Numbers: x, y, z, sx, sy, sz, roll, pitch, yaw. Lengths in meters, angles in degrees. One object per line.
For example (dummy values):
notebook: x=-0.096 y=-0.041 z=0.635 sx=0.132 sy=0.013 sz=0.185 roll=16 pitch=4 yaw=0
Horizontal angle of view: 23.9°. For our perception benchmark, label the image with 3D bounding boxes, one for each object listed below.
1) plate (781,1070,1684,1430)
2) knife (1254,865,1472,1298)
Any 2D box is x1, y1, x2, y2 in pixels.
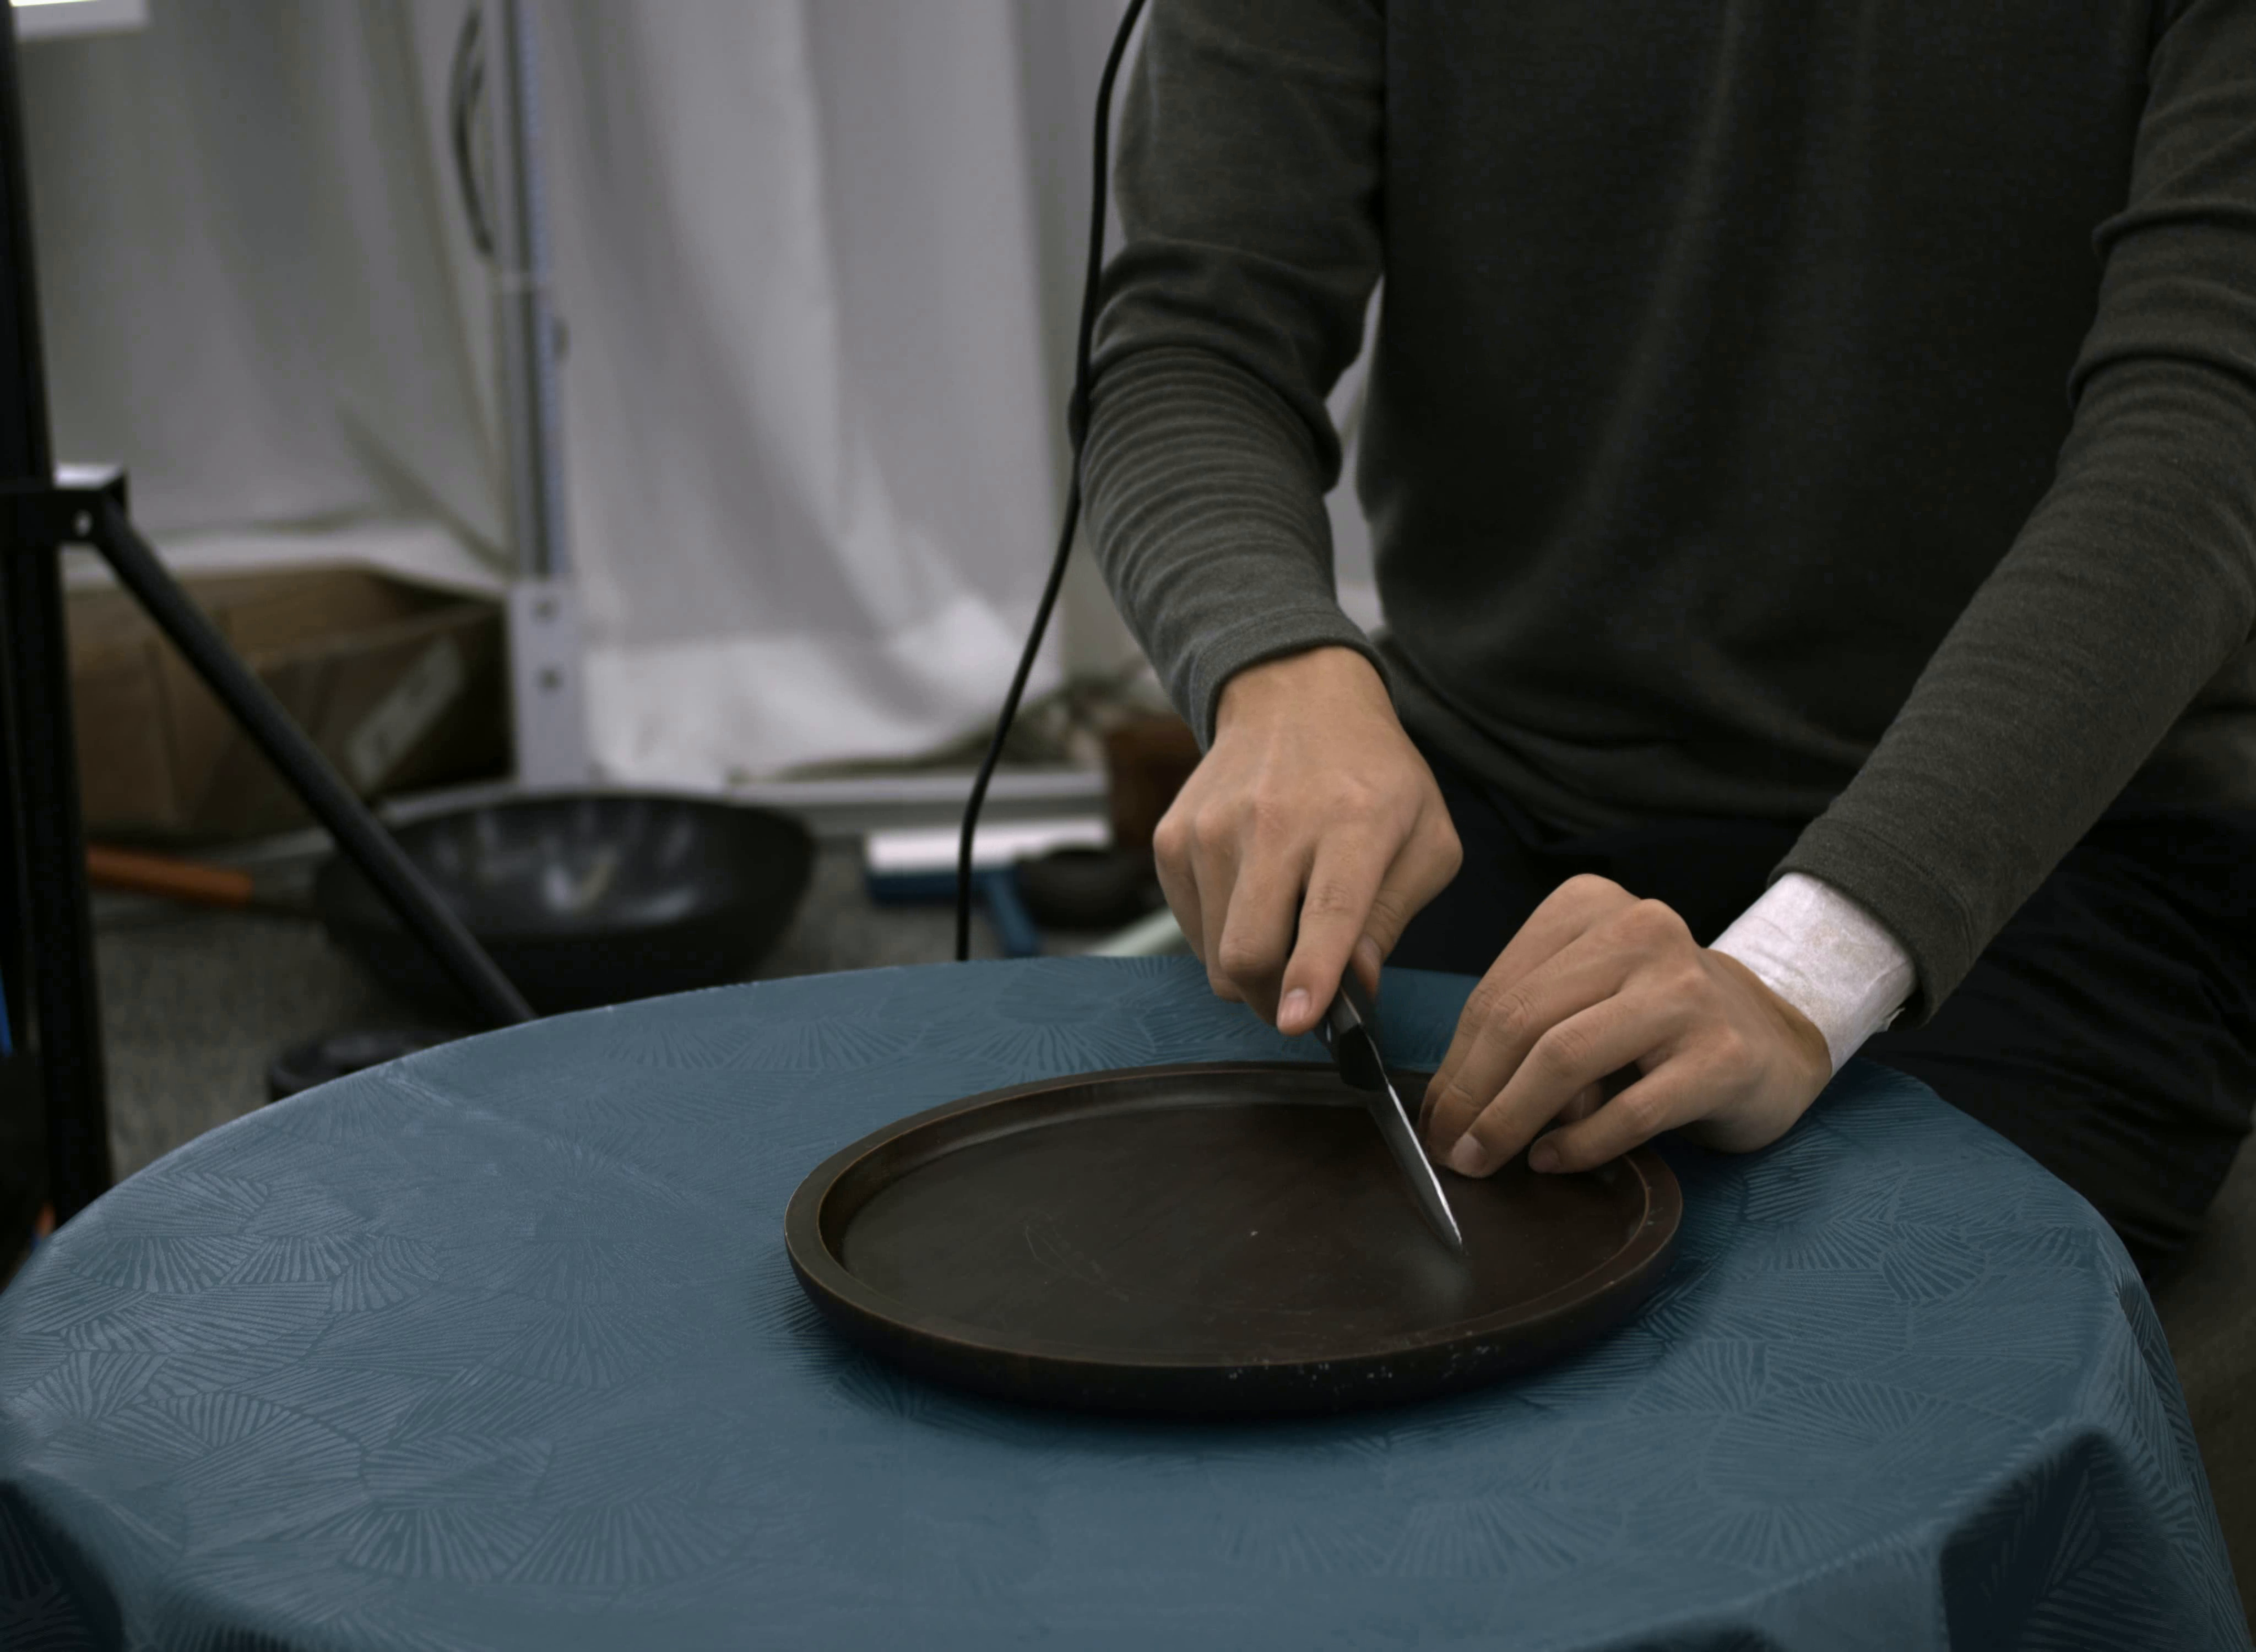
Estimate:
plate: x=0.029 y=0.116 z=1.490 sx=0.253 sy=0.029 sz=0.256 roll=-3 pitch=17 yaw=-1
knife: x=0.070 y=0.070 z=1.541 sx=0.016 sy=0.024 sz=0.242 roll=3 pitch=26 yaw=-14
